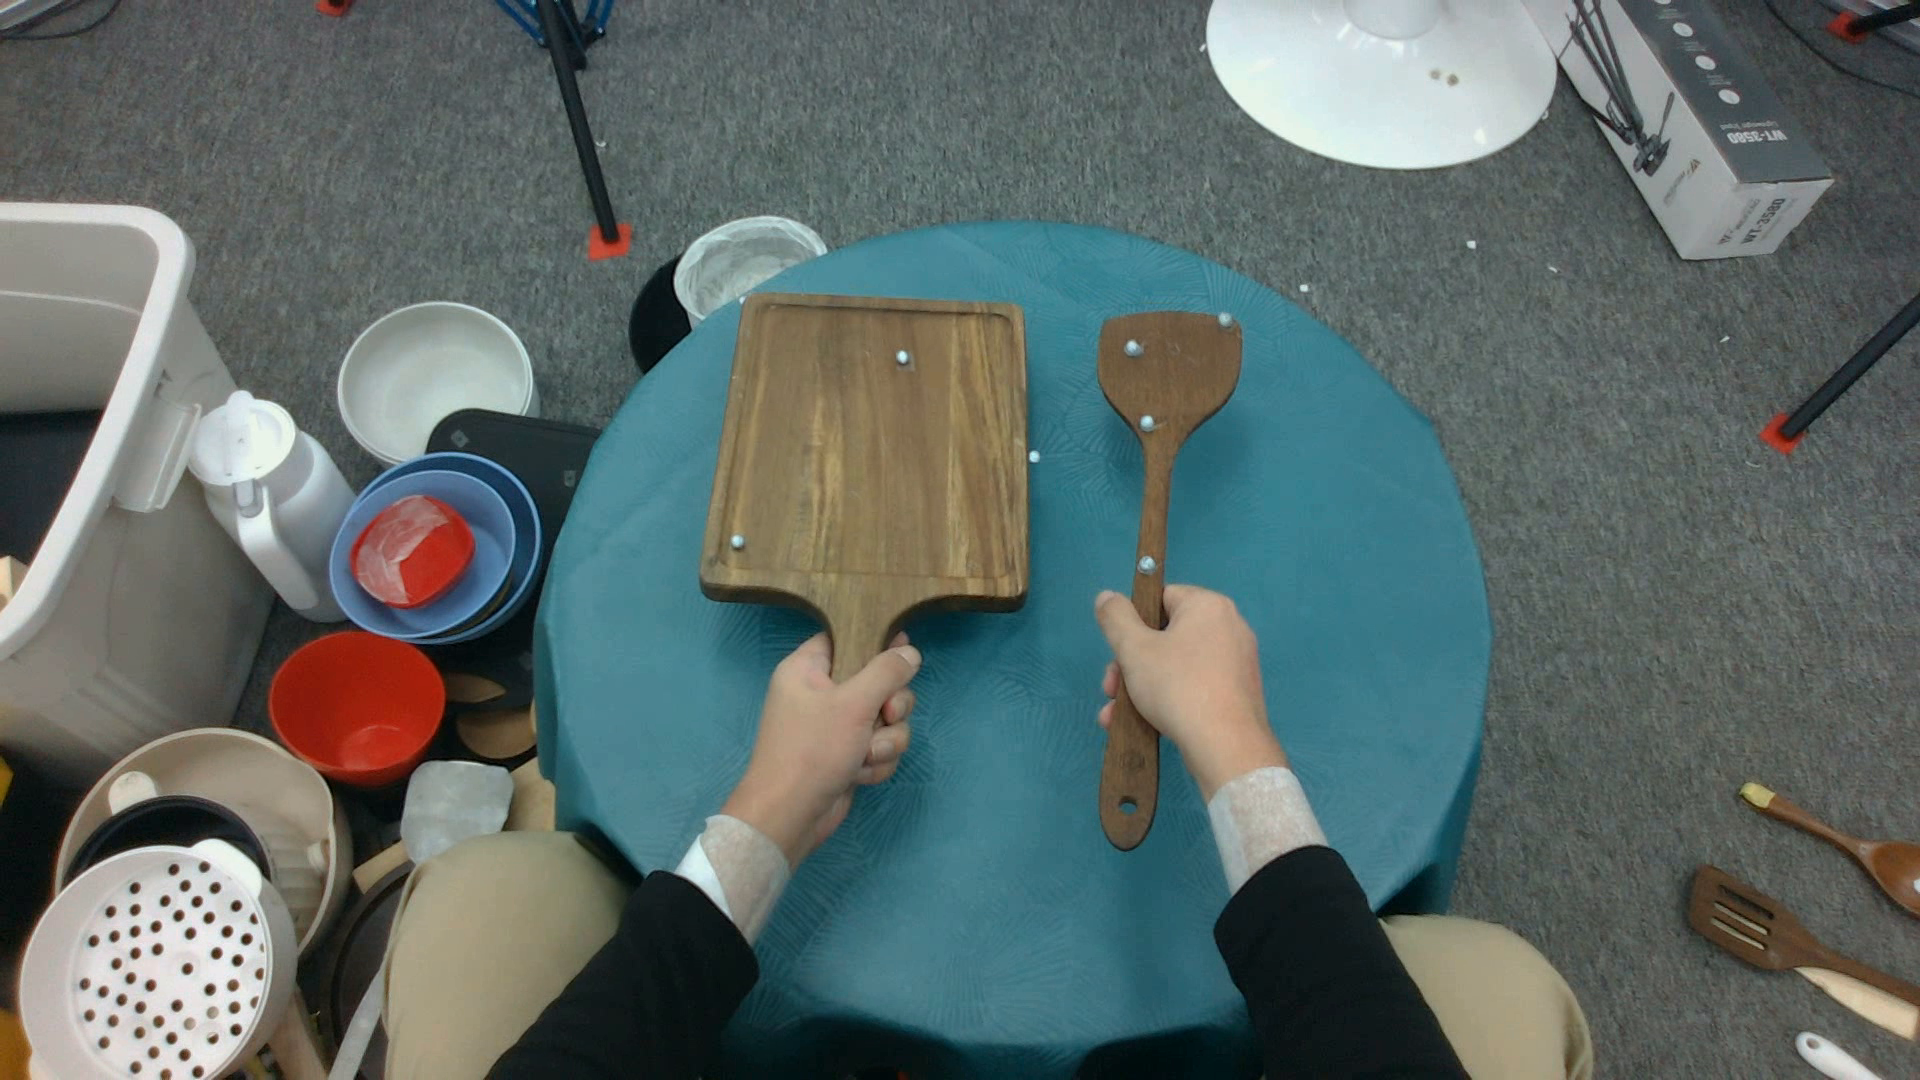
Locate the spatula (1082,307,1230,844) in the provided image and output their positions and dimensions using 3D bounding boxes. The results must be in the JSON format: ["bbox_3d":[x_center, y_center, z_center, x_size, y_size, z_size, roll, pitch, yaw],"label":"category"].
[{"bbox_3d":[0.105,-0.002,0.806,0.096,0.016,0.388,3,52,11],"label":"spatula"}]

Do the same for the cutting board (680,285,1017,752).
[{"bbox_3d":[-0.066,-0.030,0.852,0.201,0.023,0.354,2,53,-2],"label":"cutting board"}]
